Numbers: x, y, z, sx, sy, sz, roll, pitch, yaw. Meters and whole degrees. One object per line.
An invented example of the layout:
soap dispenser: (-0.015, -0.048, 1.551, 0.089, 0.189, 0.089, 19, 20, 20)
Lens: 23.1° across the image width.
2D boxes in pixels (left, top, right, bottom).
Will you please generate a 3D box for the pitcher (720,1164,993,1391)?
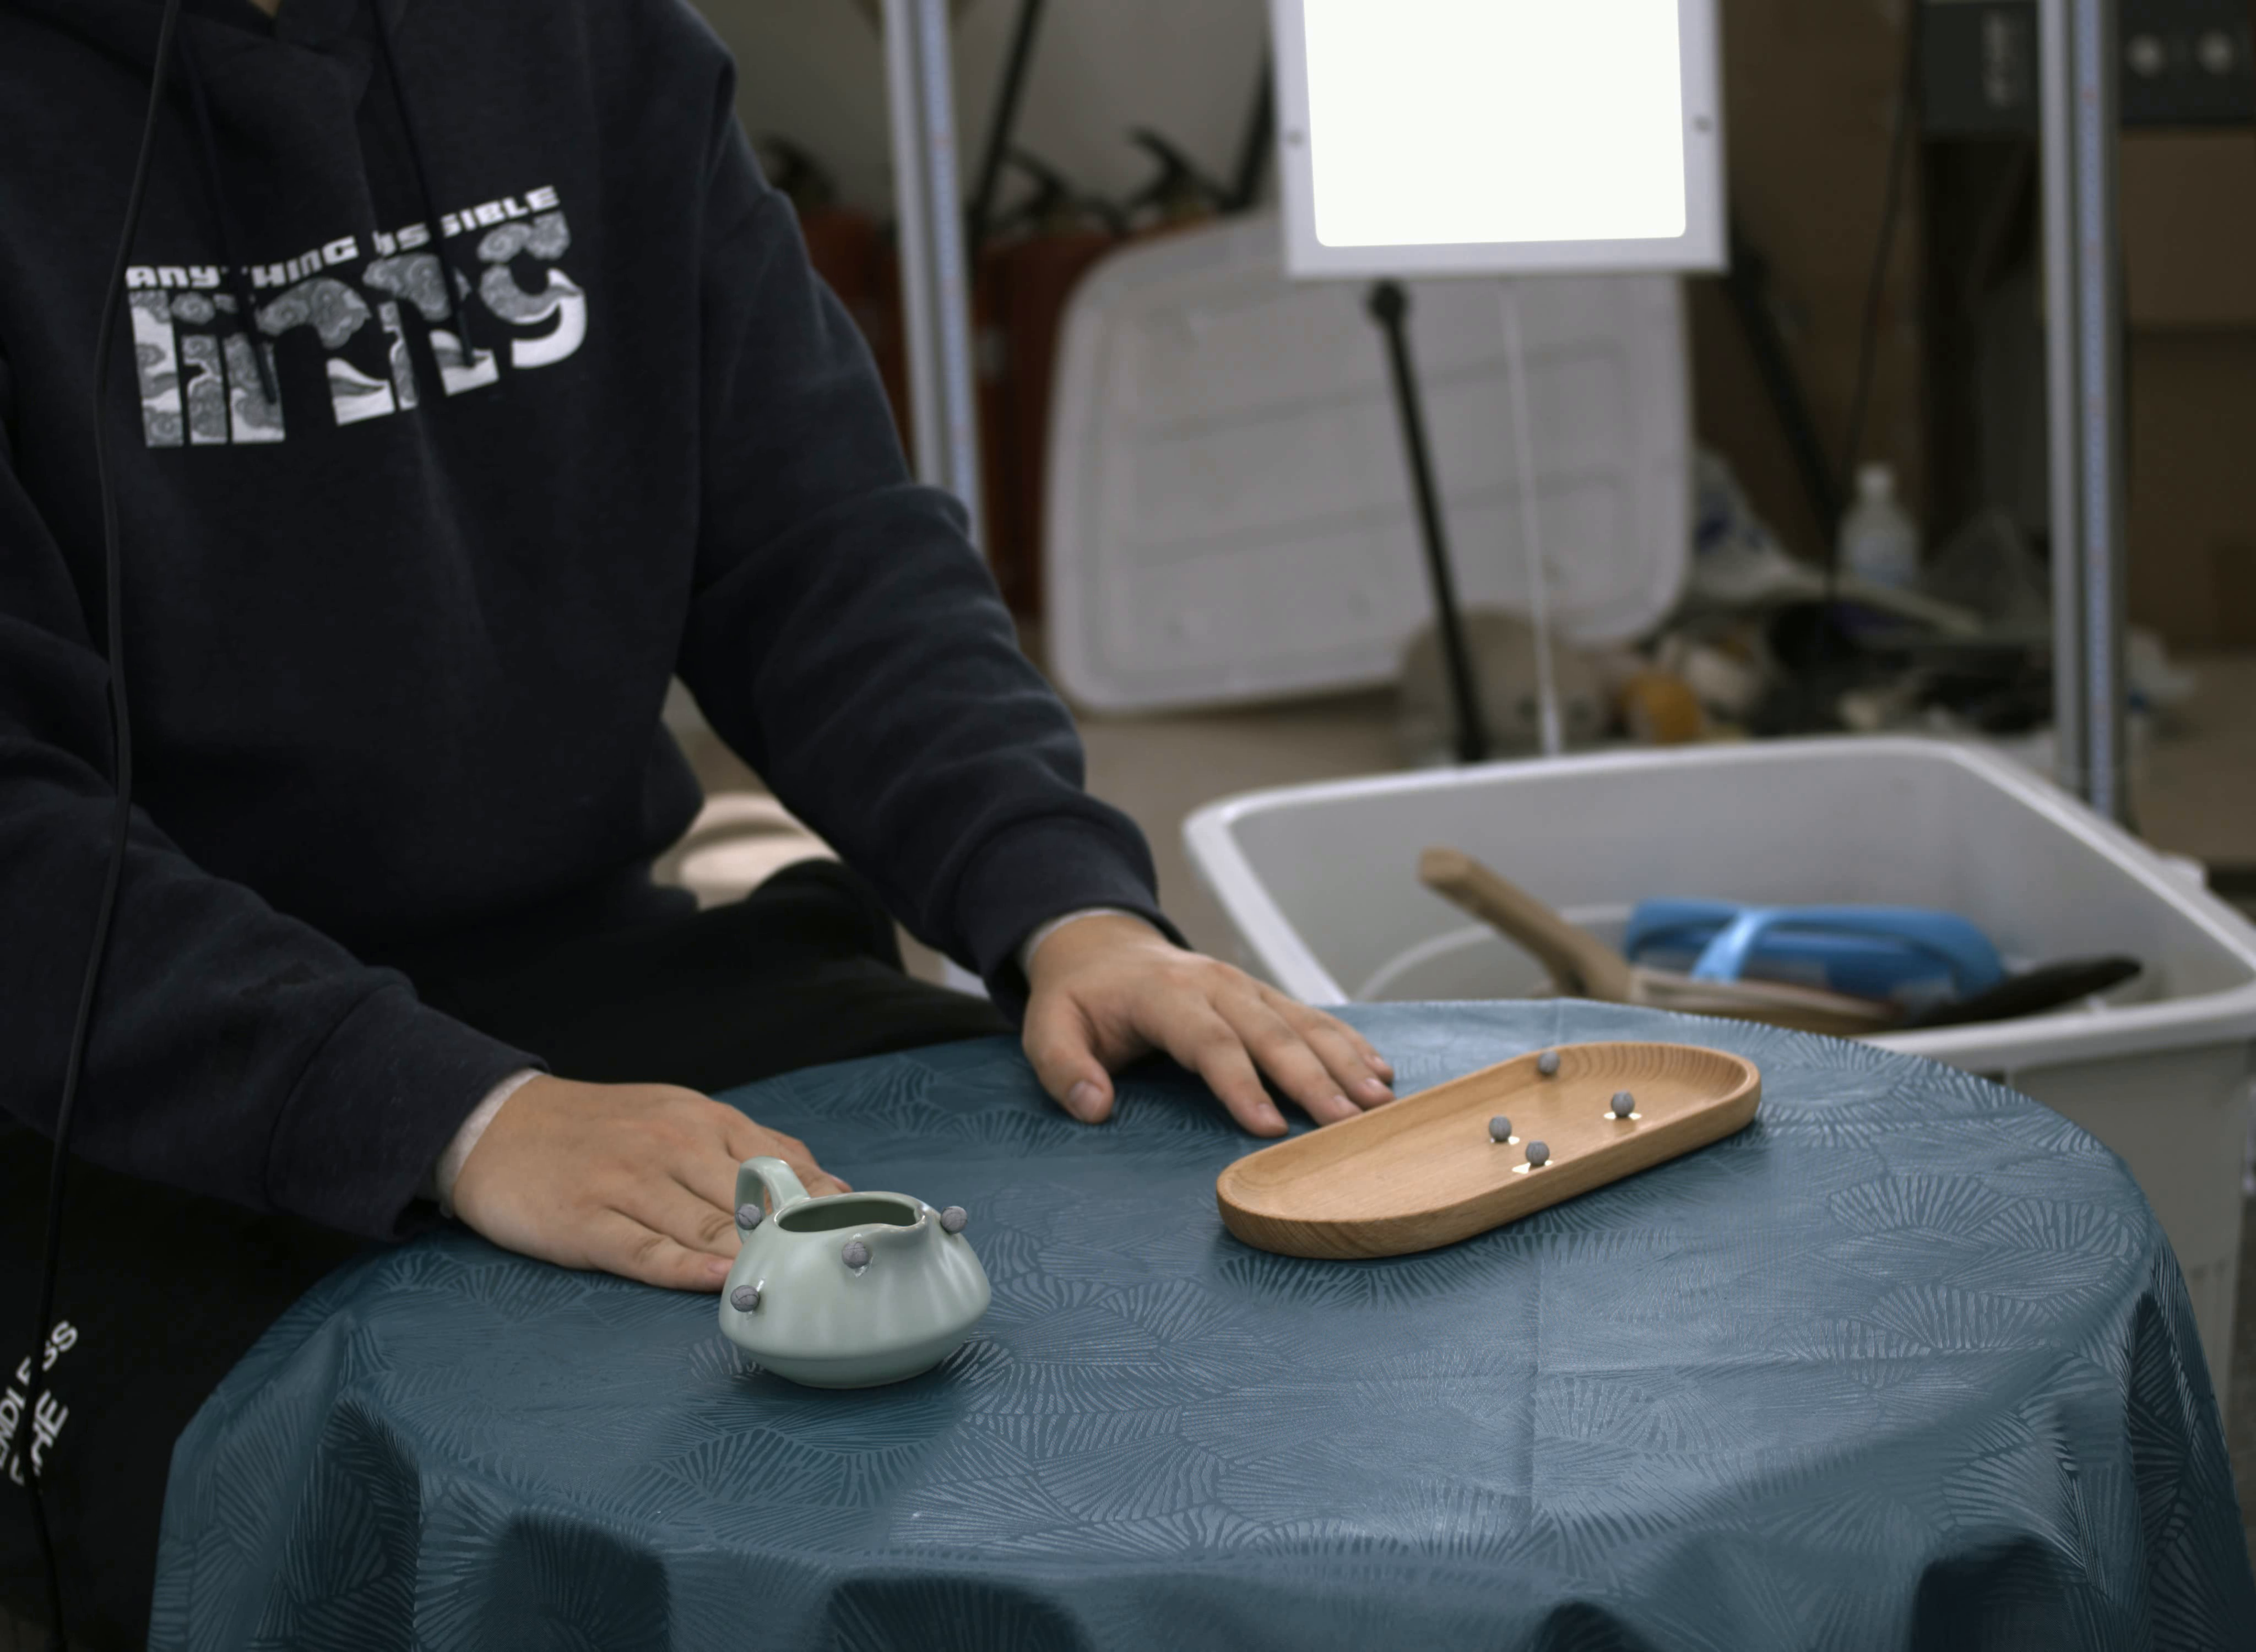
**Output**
pitcher: (-0.093, 0.143, 1.748, 0.084, 0.060, 0.110, -12, 13, -33)

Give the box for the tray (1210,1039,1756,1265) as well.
tray: (0.125, 0.111, 1.887, 0.225, 0.020, 0.104, -20, 18, -40)
